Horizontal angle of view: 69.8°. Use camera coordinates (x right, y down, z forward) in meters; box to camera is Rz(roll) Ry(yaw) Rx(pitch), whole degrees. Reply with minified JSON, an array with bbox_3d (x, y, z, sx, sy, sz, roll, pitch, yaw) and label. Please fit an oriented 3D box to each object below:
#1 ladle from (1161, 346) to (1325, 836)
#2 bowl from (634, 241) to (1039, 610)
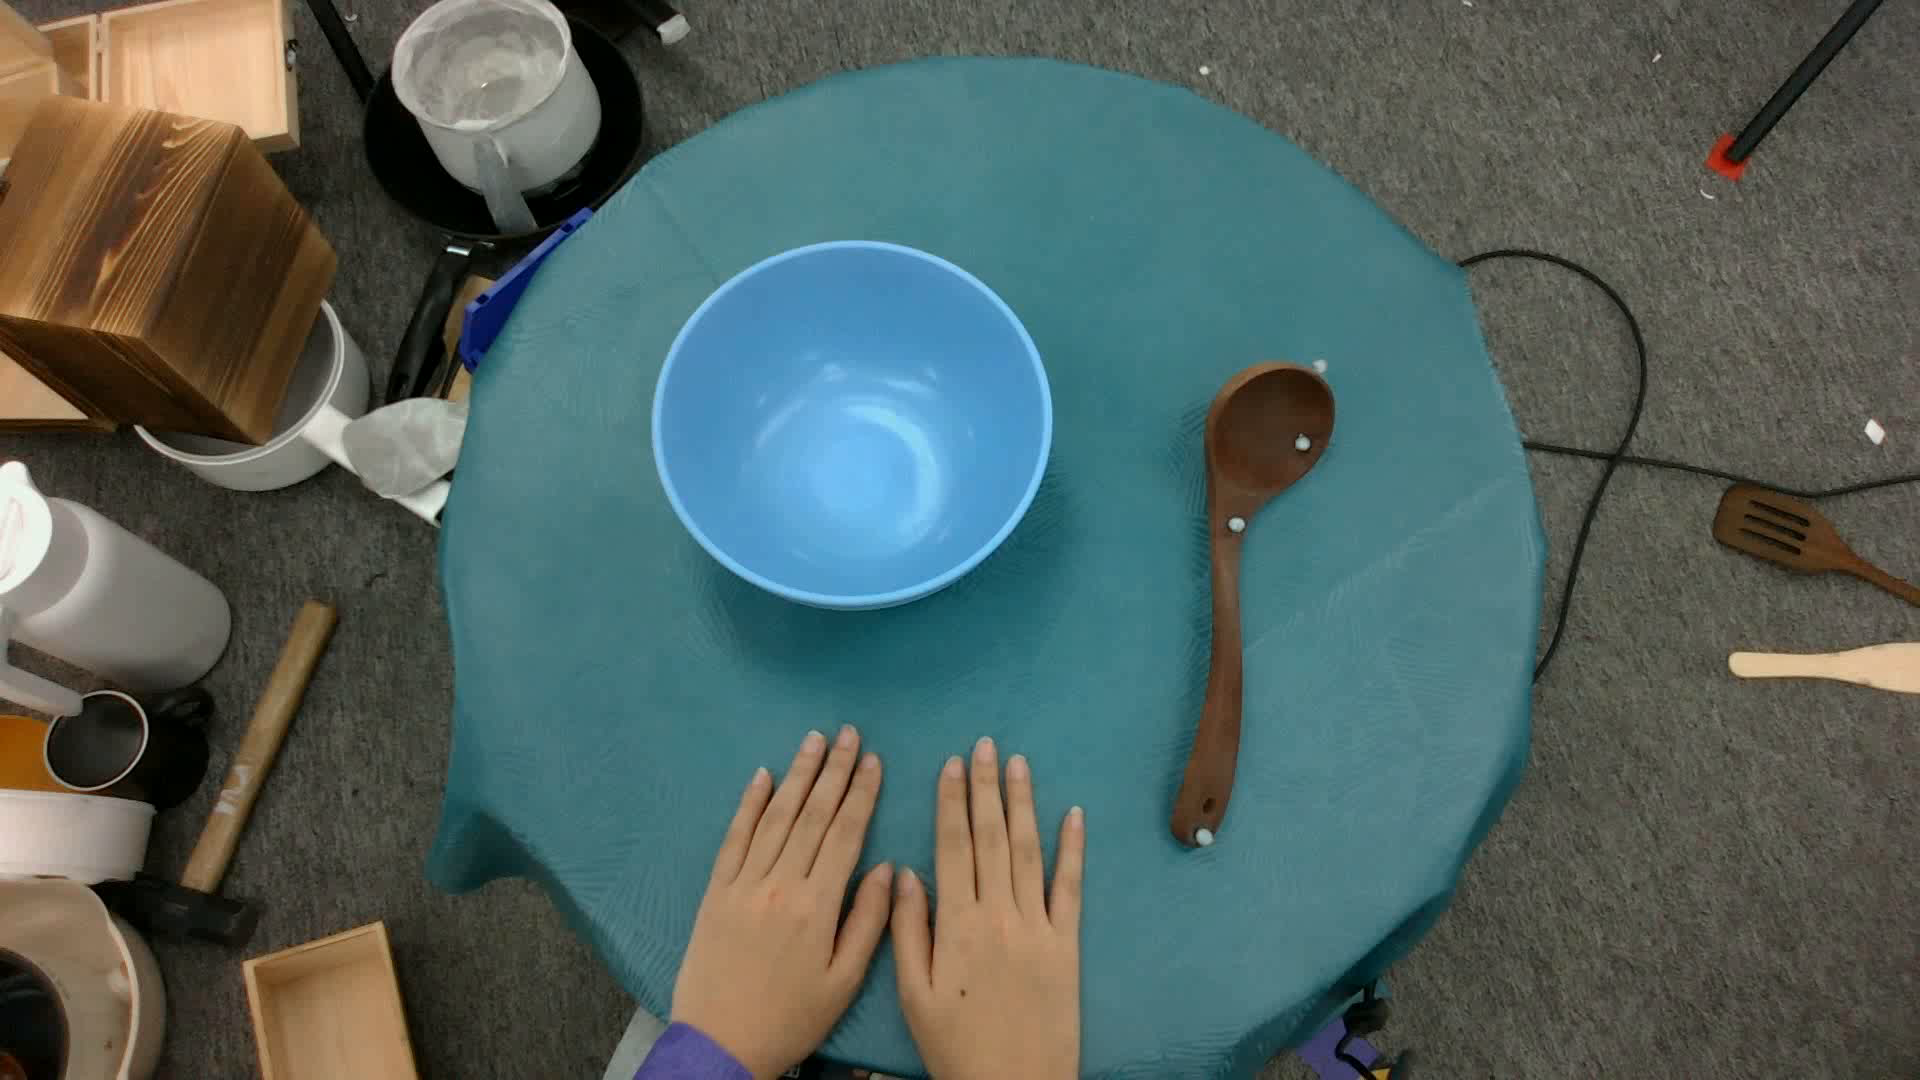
[{"bbox_3d":[0.143,0.022,0.713,0.076,0.065,0.261,19,68,-24],"label":"ladle"},{"bbox_3d":[-0.064,-0.046,0.712,0.196,0.095,0.197,3,68,-7],"label":"bowl"}]
